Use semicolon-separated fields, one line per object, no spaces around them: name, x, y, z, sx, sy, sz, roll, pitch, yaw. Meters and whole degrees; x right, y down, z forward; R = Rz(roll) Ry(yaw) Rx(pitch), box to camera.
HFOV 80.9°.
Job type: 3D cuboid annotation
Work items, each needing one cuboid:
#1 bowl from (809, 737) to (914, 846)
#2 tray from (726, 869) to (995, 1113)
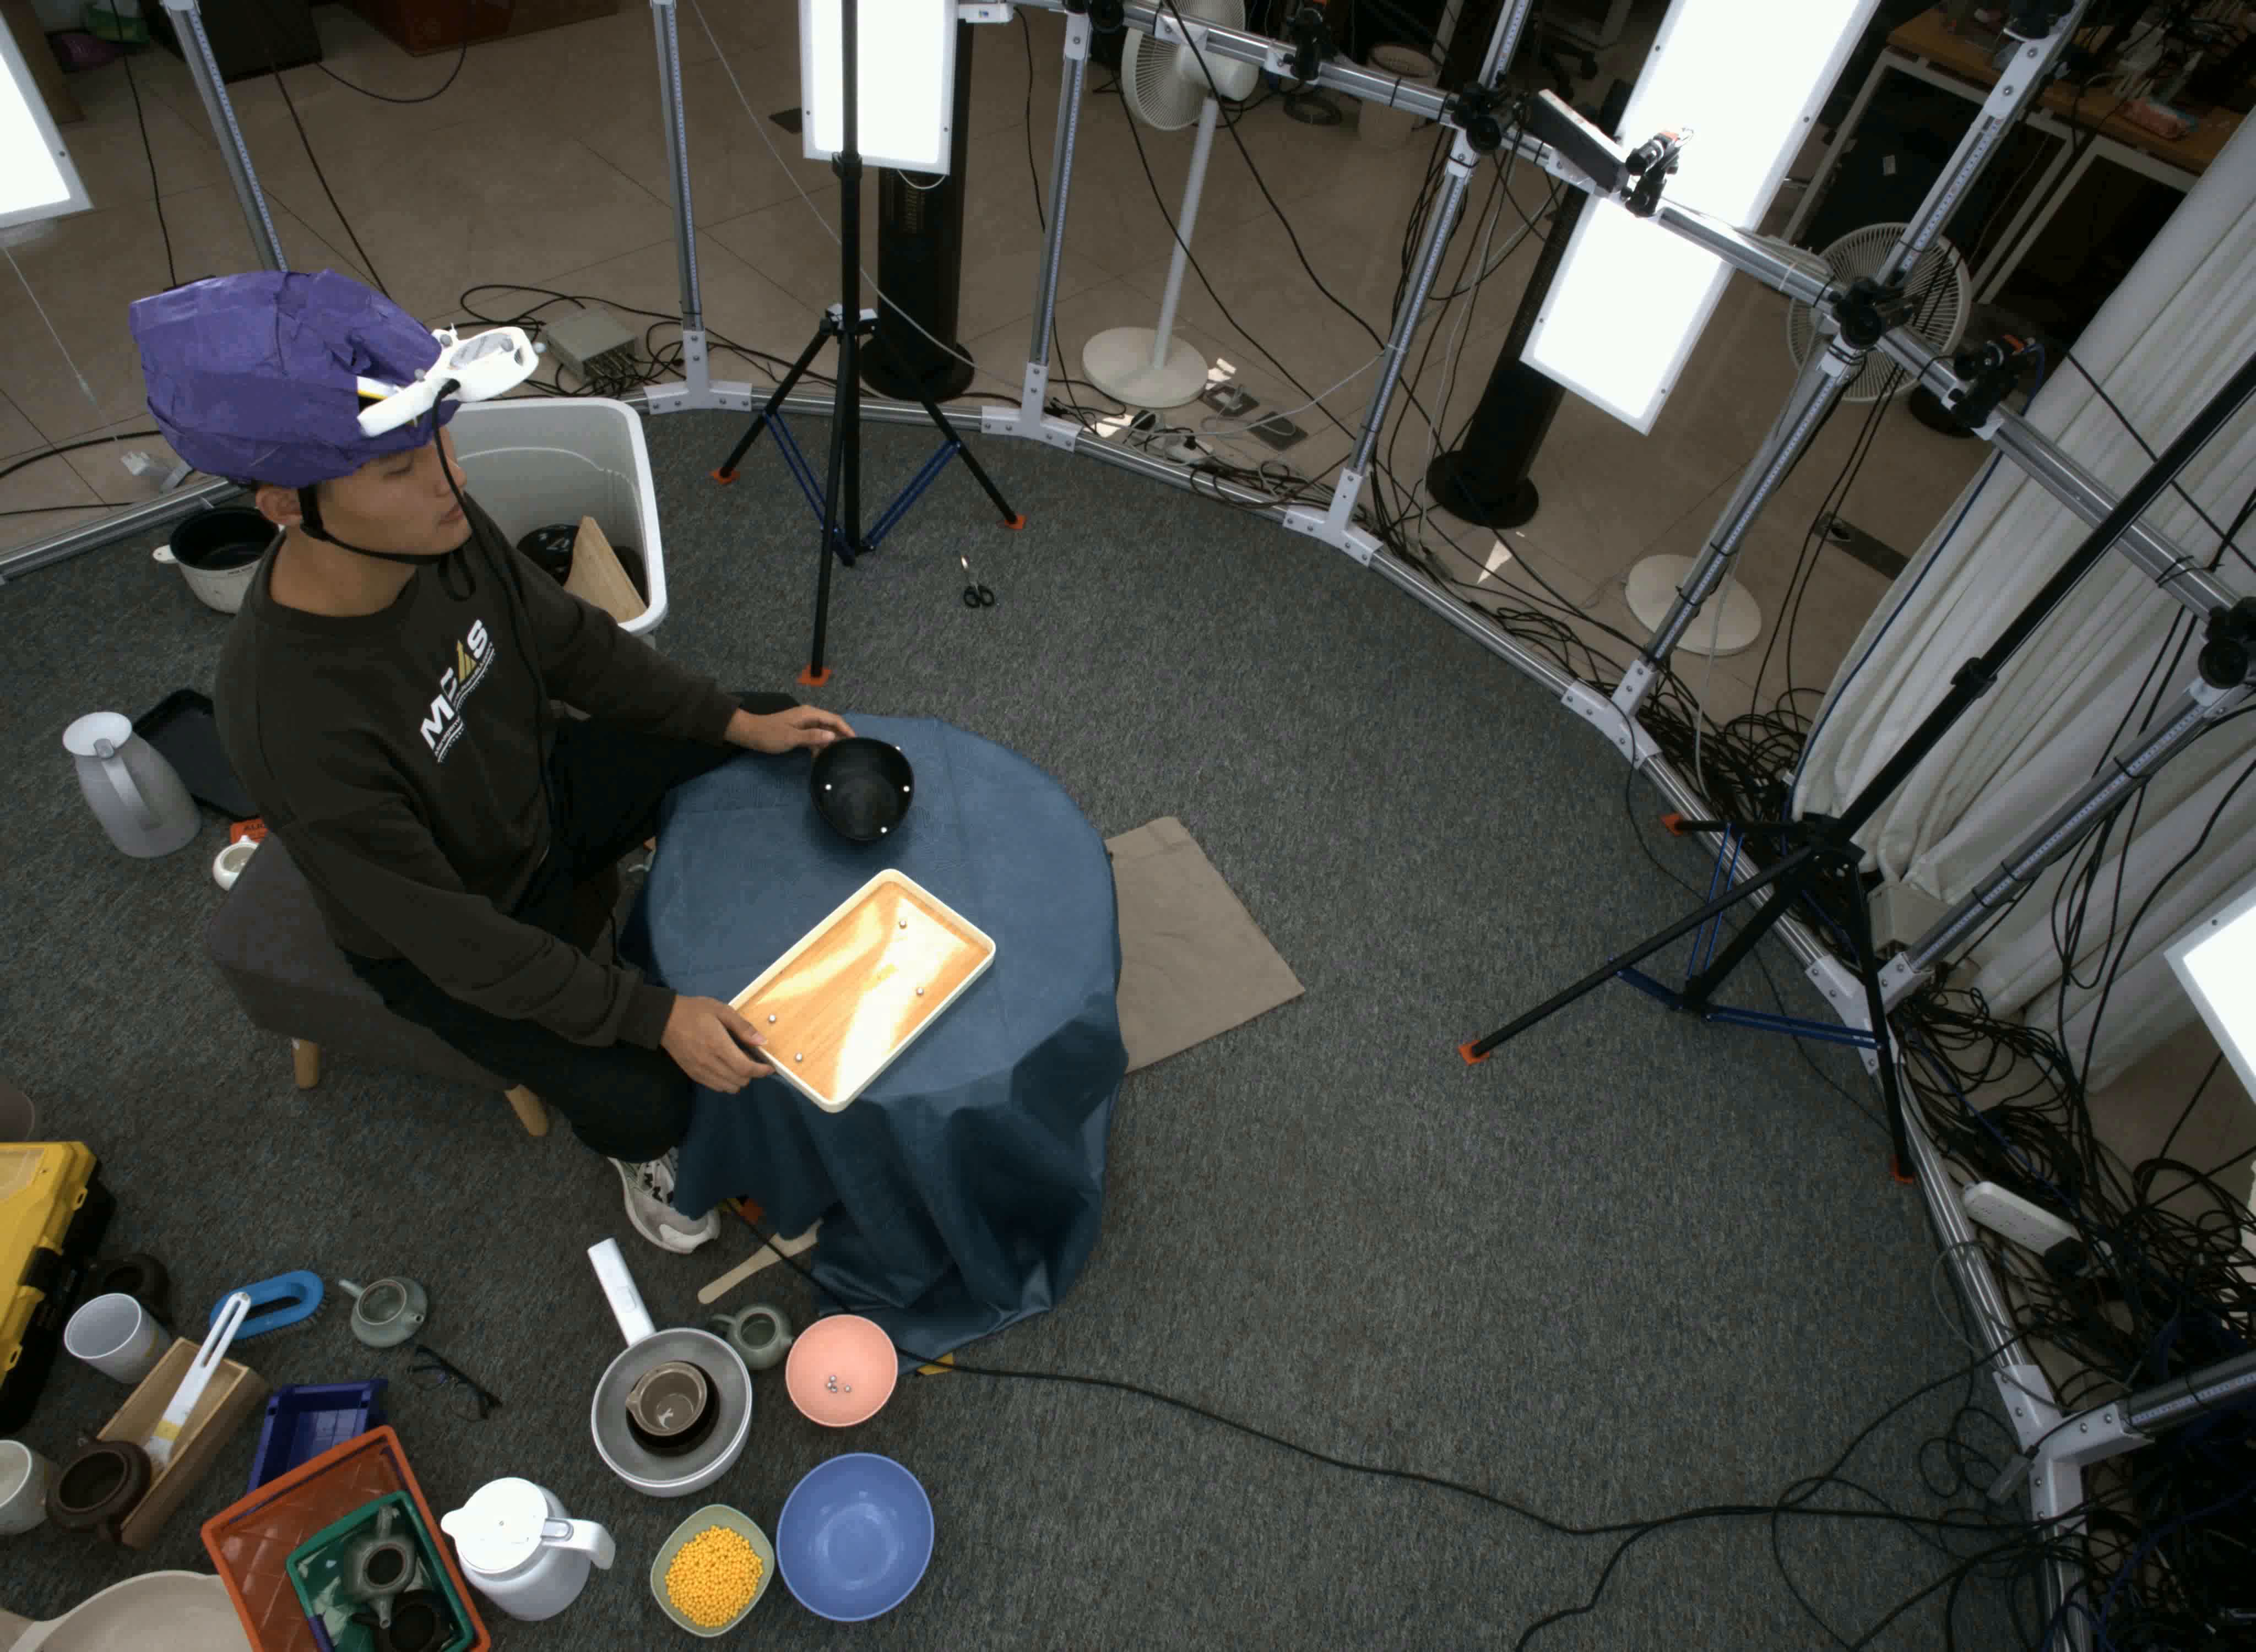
bowl;-0.355;-0.038;1.741;0.137;0.068;0.166;-7;57;-16
tray;-0.323;0.193;1.598;0.188;0.028;0.300;35;54;13
